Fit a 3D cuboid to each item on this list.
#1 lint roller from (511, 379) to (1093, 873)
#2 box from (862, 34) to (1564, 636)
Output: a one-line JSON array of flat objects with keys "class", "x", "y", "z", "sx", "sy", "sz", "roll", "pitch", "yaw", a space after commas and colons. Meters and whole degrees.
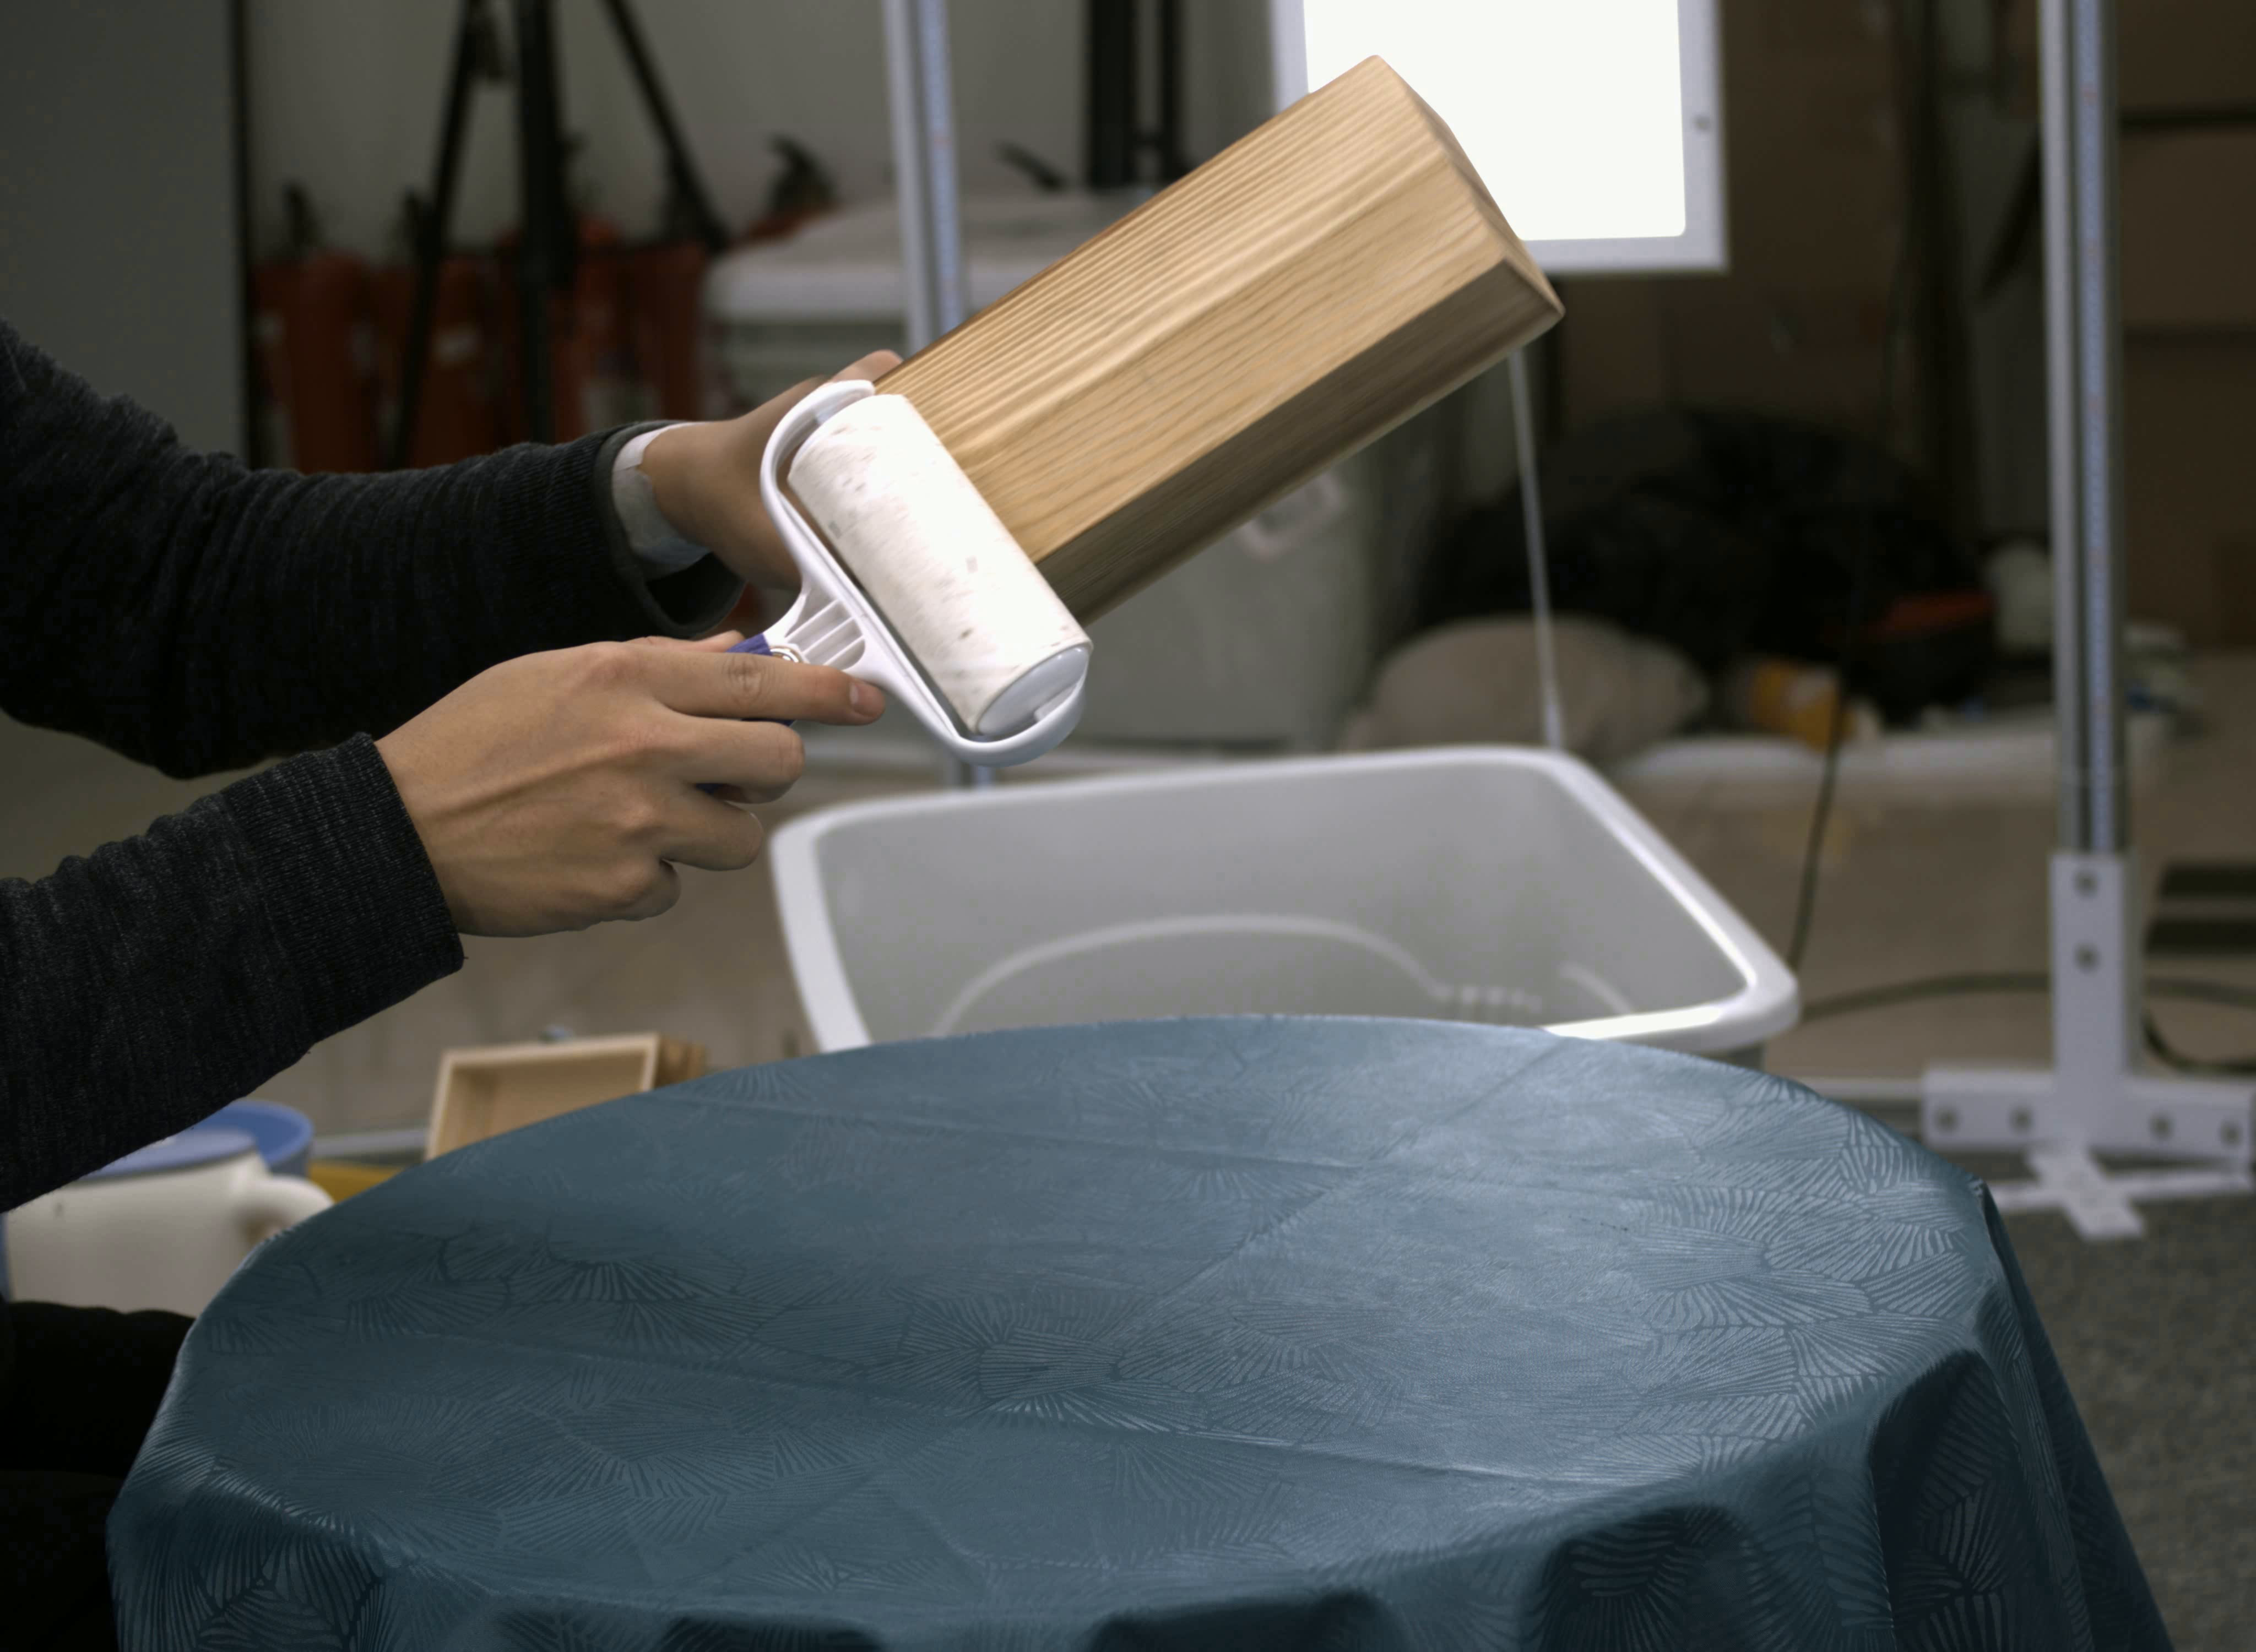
[{"class": "lint roller", "x": -0.113, "y": -0.047, "z": 1.680, "sx": 0.179, "sy": 0.133, "sz": 0.050, "roll": -32, "pitch": -13, "yaw": -13}, {"class": "box", "x": 0.024, "y": -0.150, "z": 1.751, "sx": 0.213, "sy": 0.080, "sz": 0.106, "roll": -34, "pitch": -12, "yaw": 11}]
